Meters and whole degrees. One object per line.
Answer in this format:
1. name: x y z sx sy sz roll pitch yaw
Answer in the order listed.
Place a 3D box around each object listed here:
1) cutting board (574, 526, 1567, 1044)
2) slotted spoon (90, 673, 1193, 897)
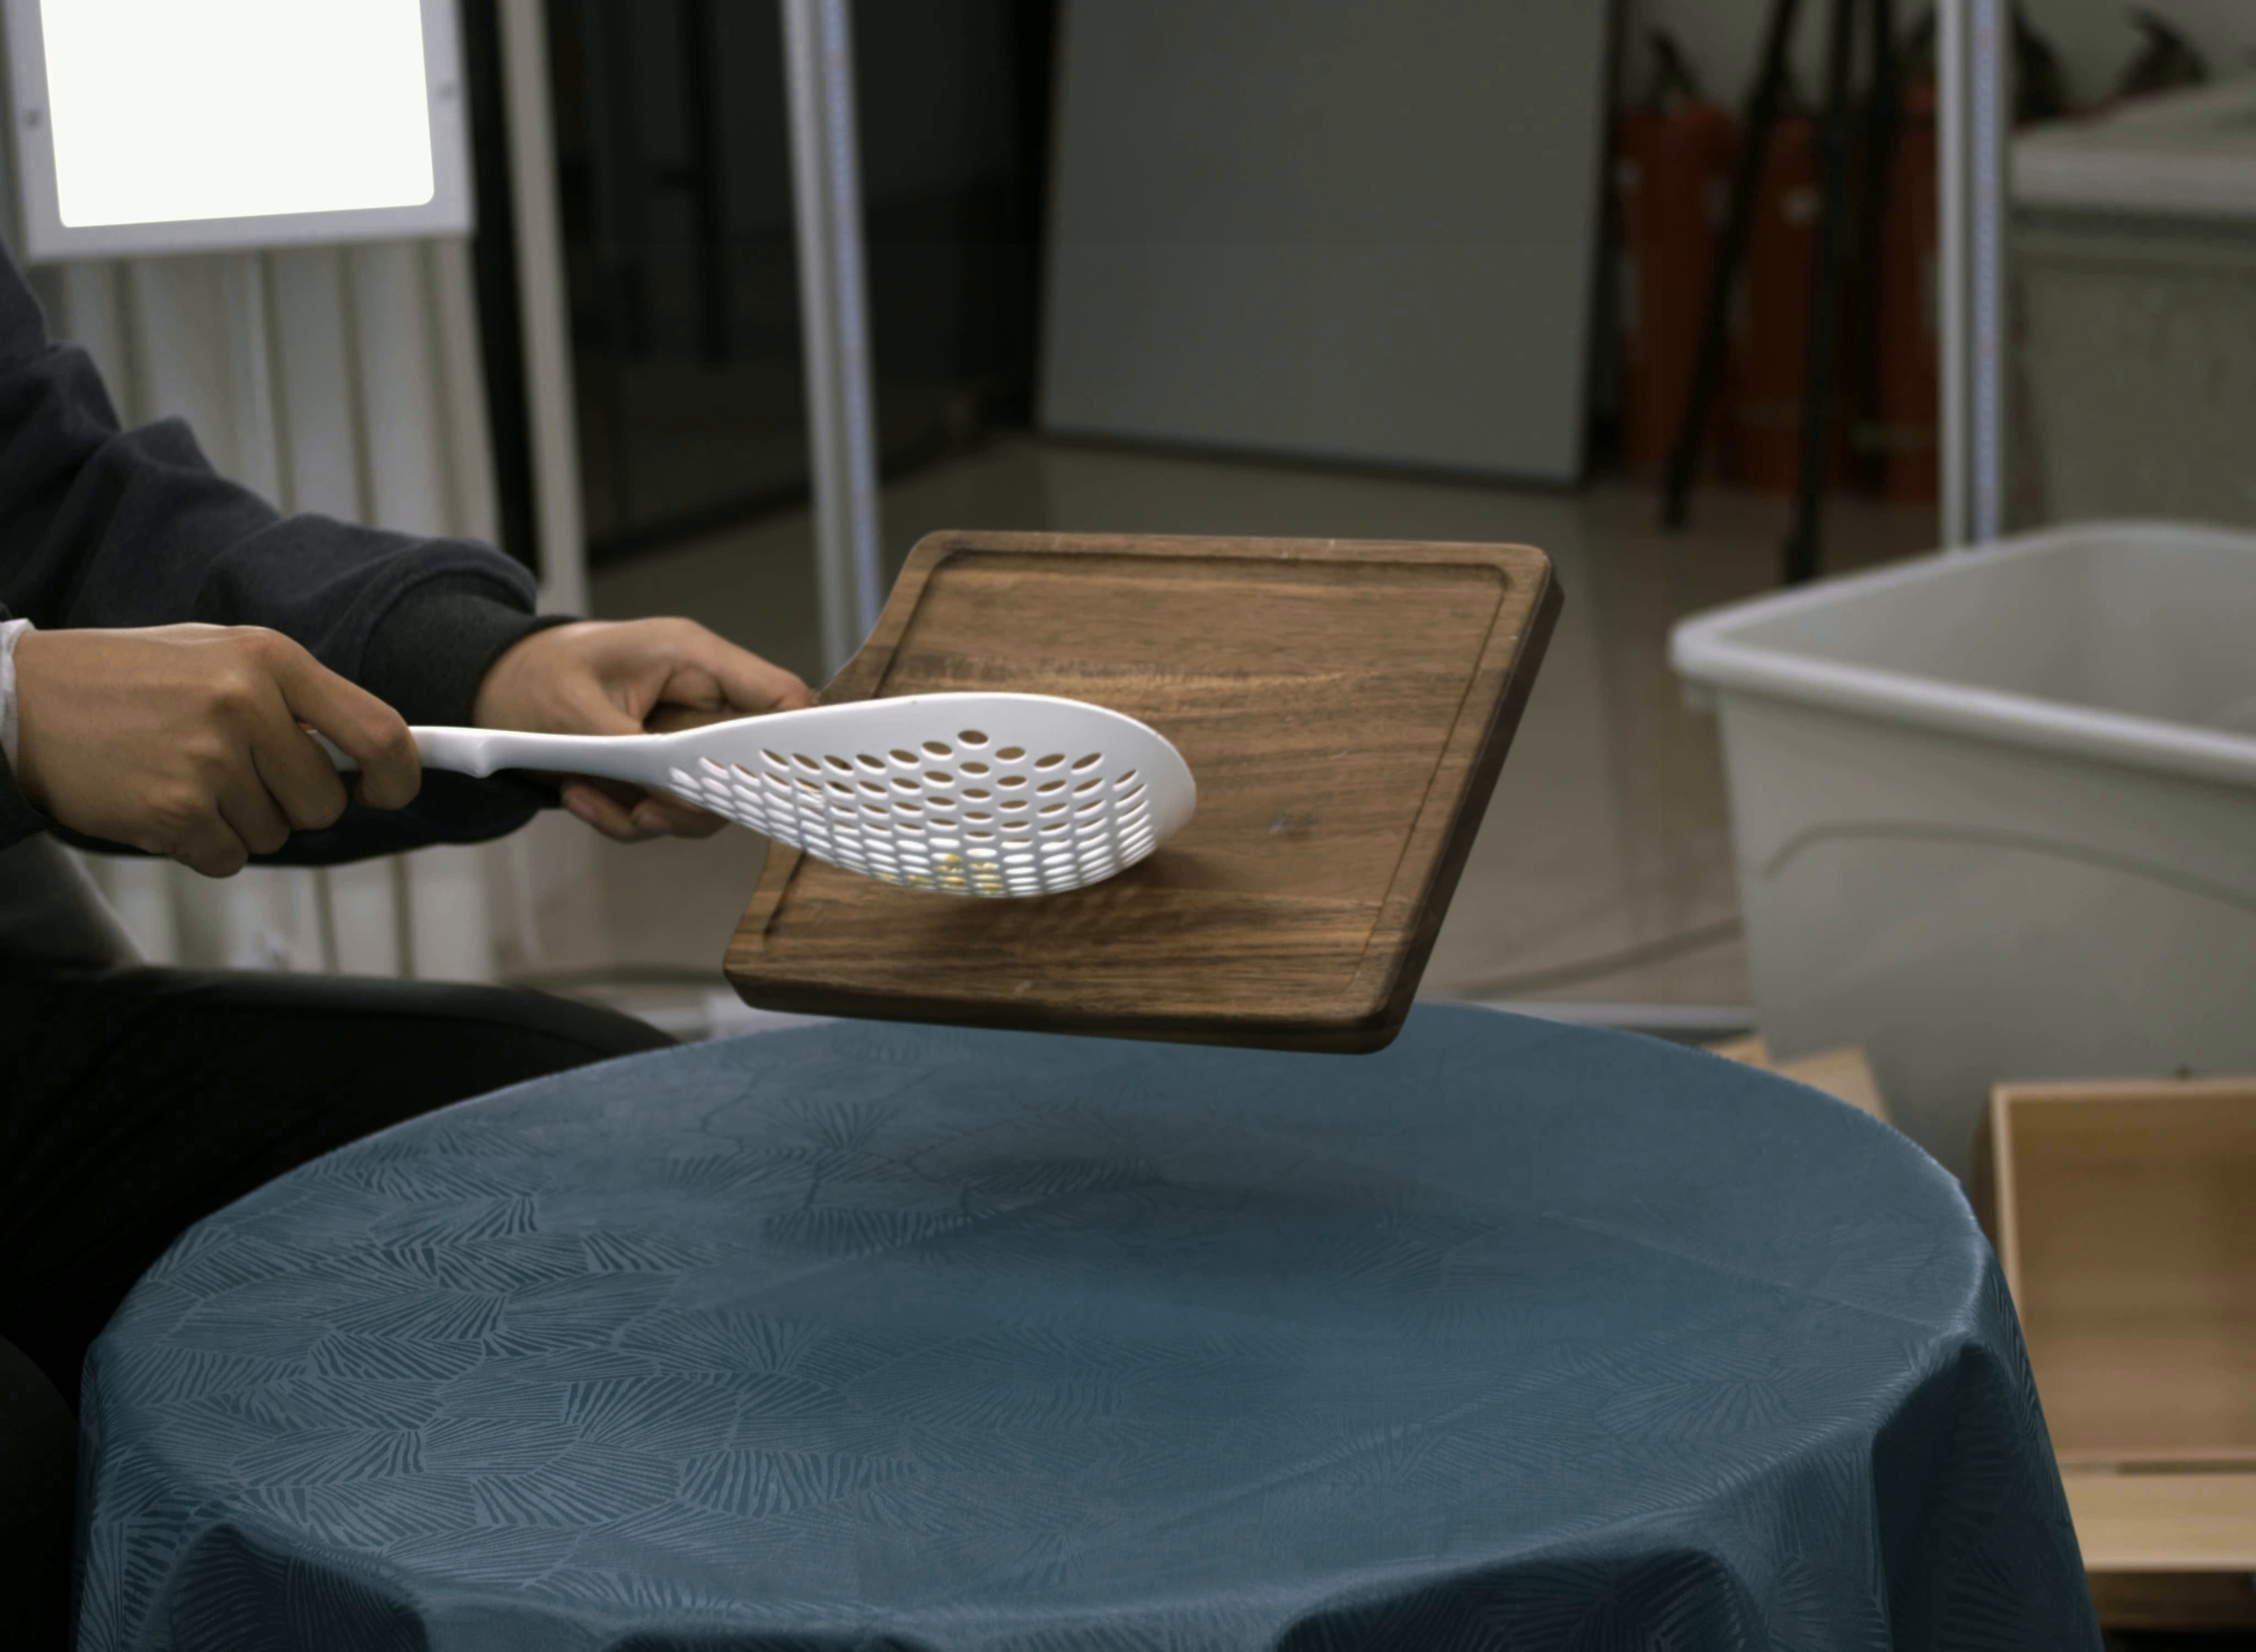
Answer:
1. cutting board: -0.037 -0.020 1.799 0.353 0.023 0.201 2 53 31
2. slotted spoon: -0.152 -0.015 1.705 0.344 0.051 0.136 7 -21 6
